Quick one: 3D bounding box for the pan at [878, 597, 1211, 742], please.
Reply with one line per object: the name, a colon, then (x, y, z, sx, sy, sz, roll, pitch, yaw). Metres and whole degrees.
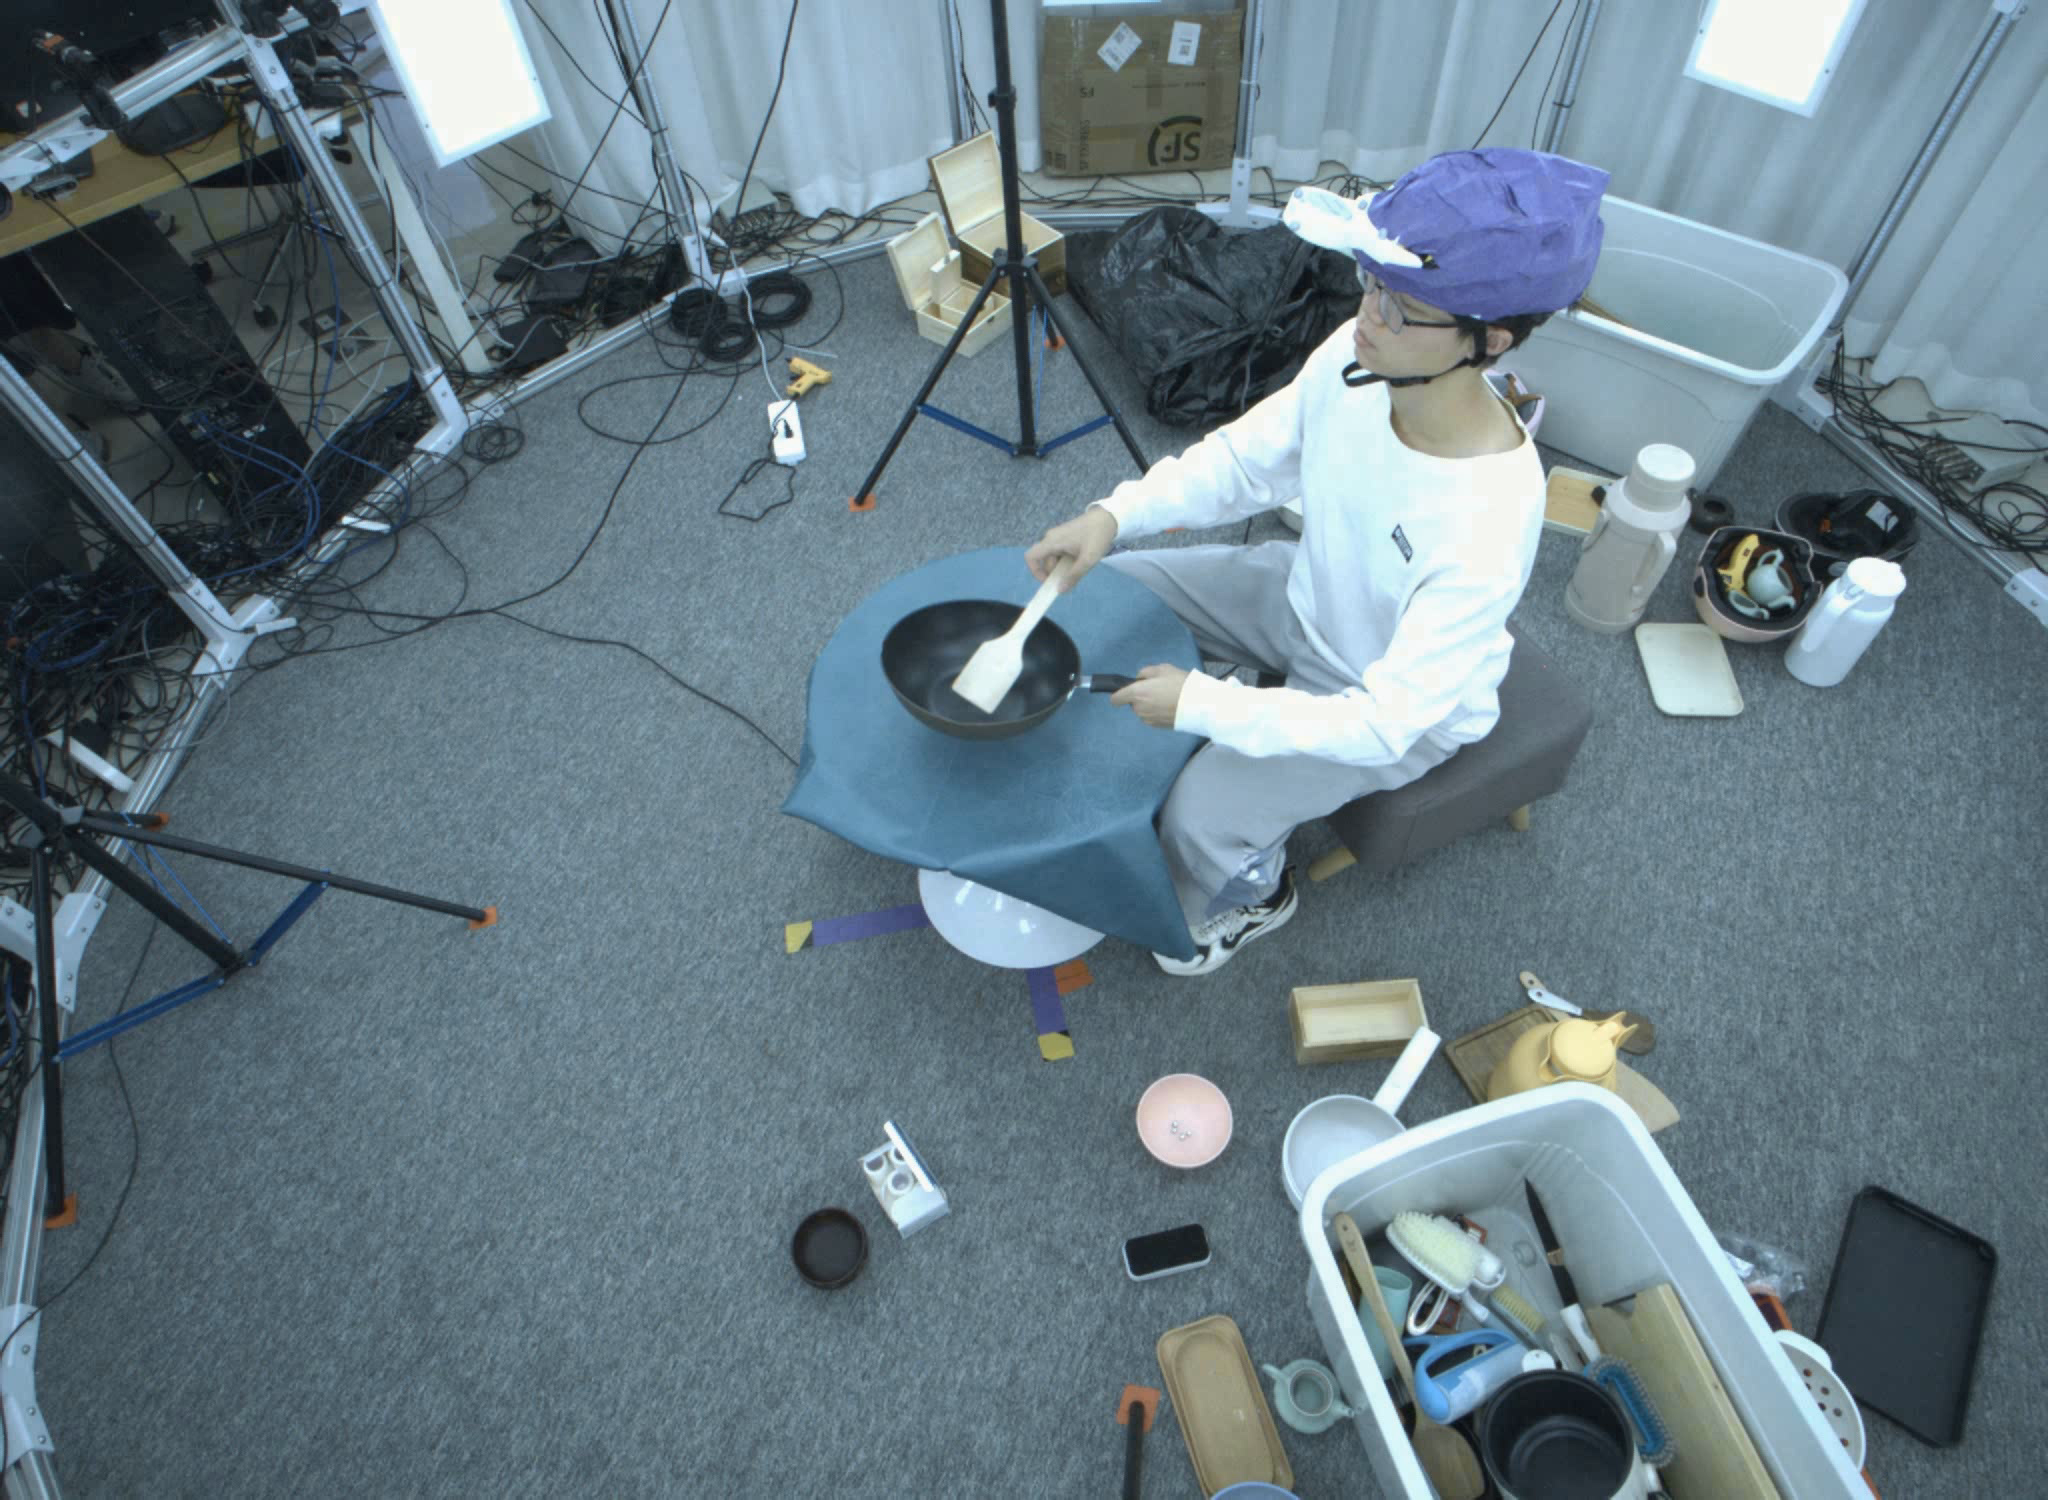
pan: (0.026, -0.085, 1.714, 0.463, 0.087, 0.286, 10, 43, 2)

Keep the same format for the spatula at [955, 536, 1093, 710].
spatula: (0.009, -0.189, 1.749, 0.072, 0.011, 0.293, 34, 79, 5)
